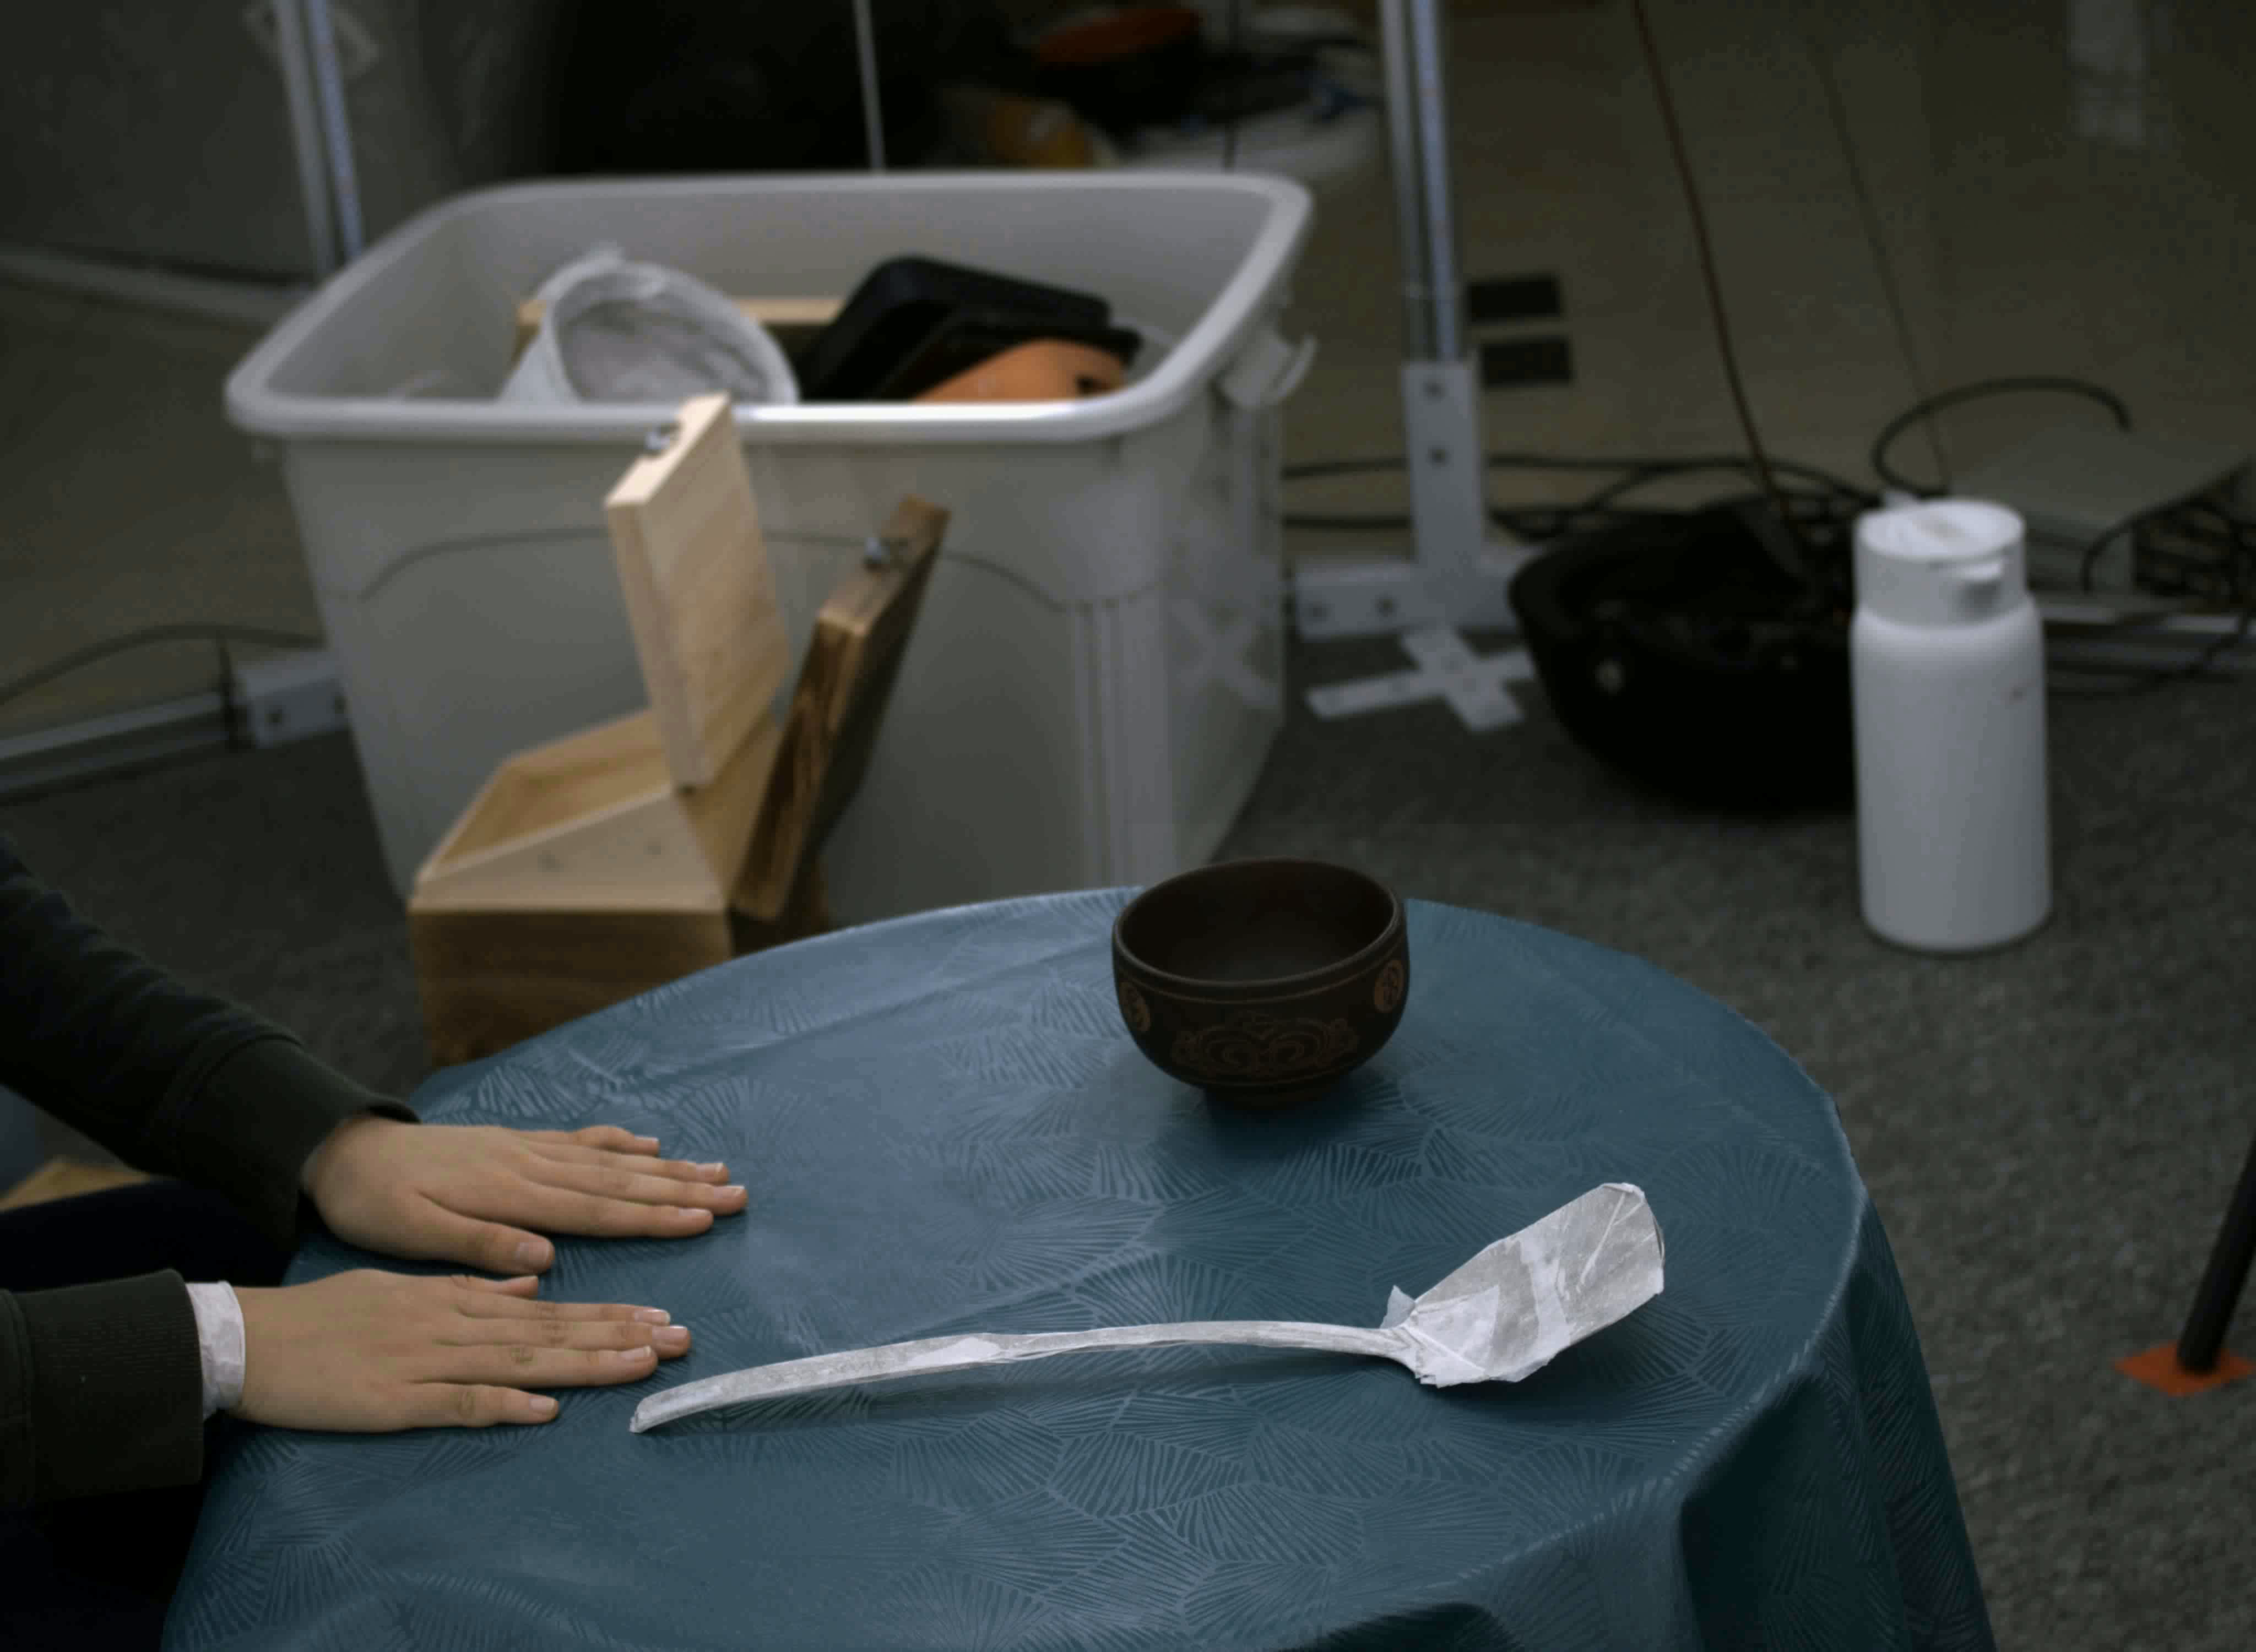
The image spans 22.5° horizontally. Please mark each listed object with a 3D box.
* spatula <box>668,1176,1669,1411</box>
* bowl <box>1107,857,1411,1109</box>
[{"bbox_3d":[0.012,0.177,2.022,0.364,0.045,0.097,-5,27,3],"label":"spatula"},{"bbox_3d":[0.053,0.067,2.210,0.118,0.071,0.116,-7,24,3],"label":"bowl"}]
